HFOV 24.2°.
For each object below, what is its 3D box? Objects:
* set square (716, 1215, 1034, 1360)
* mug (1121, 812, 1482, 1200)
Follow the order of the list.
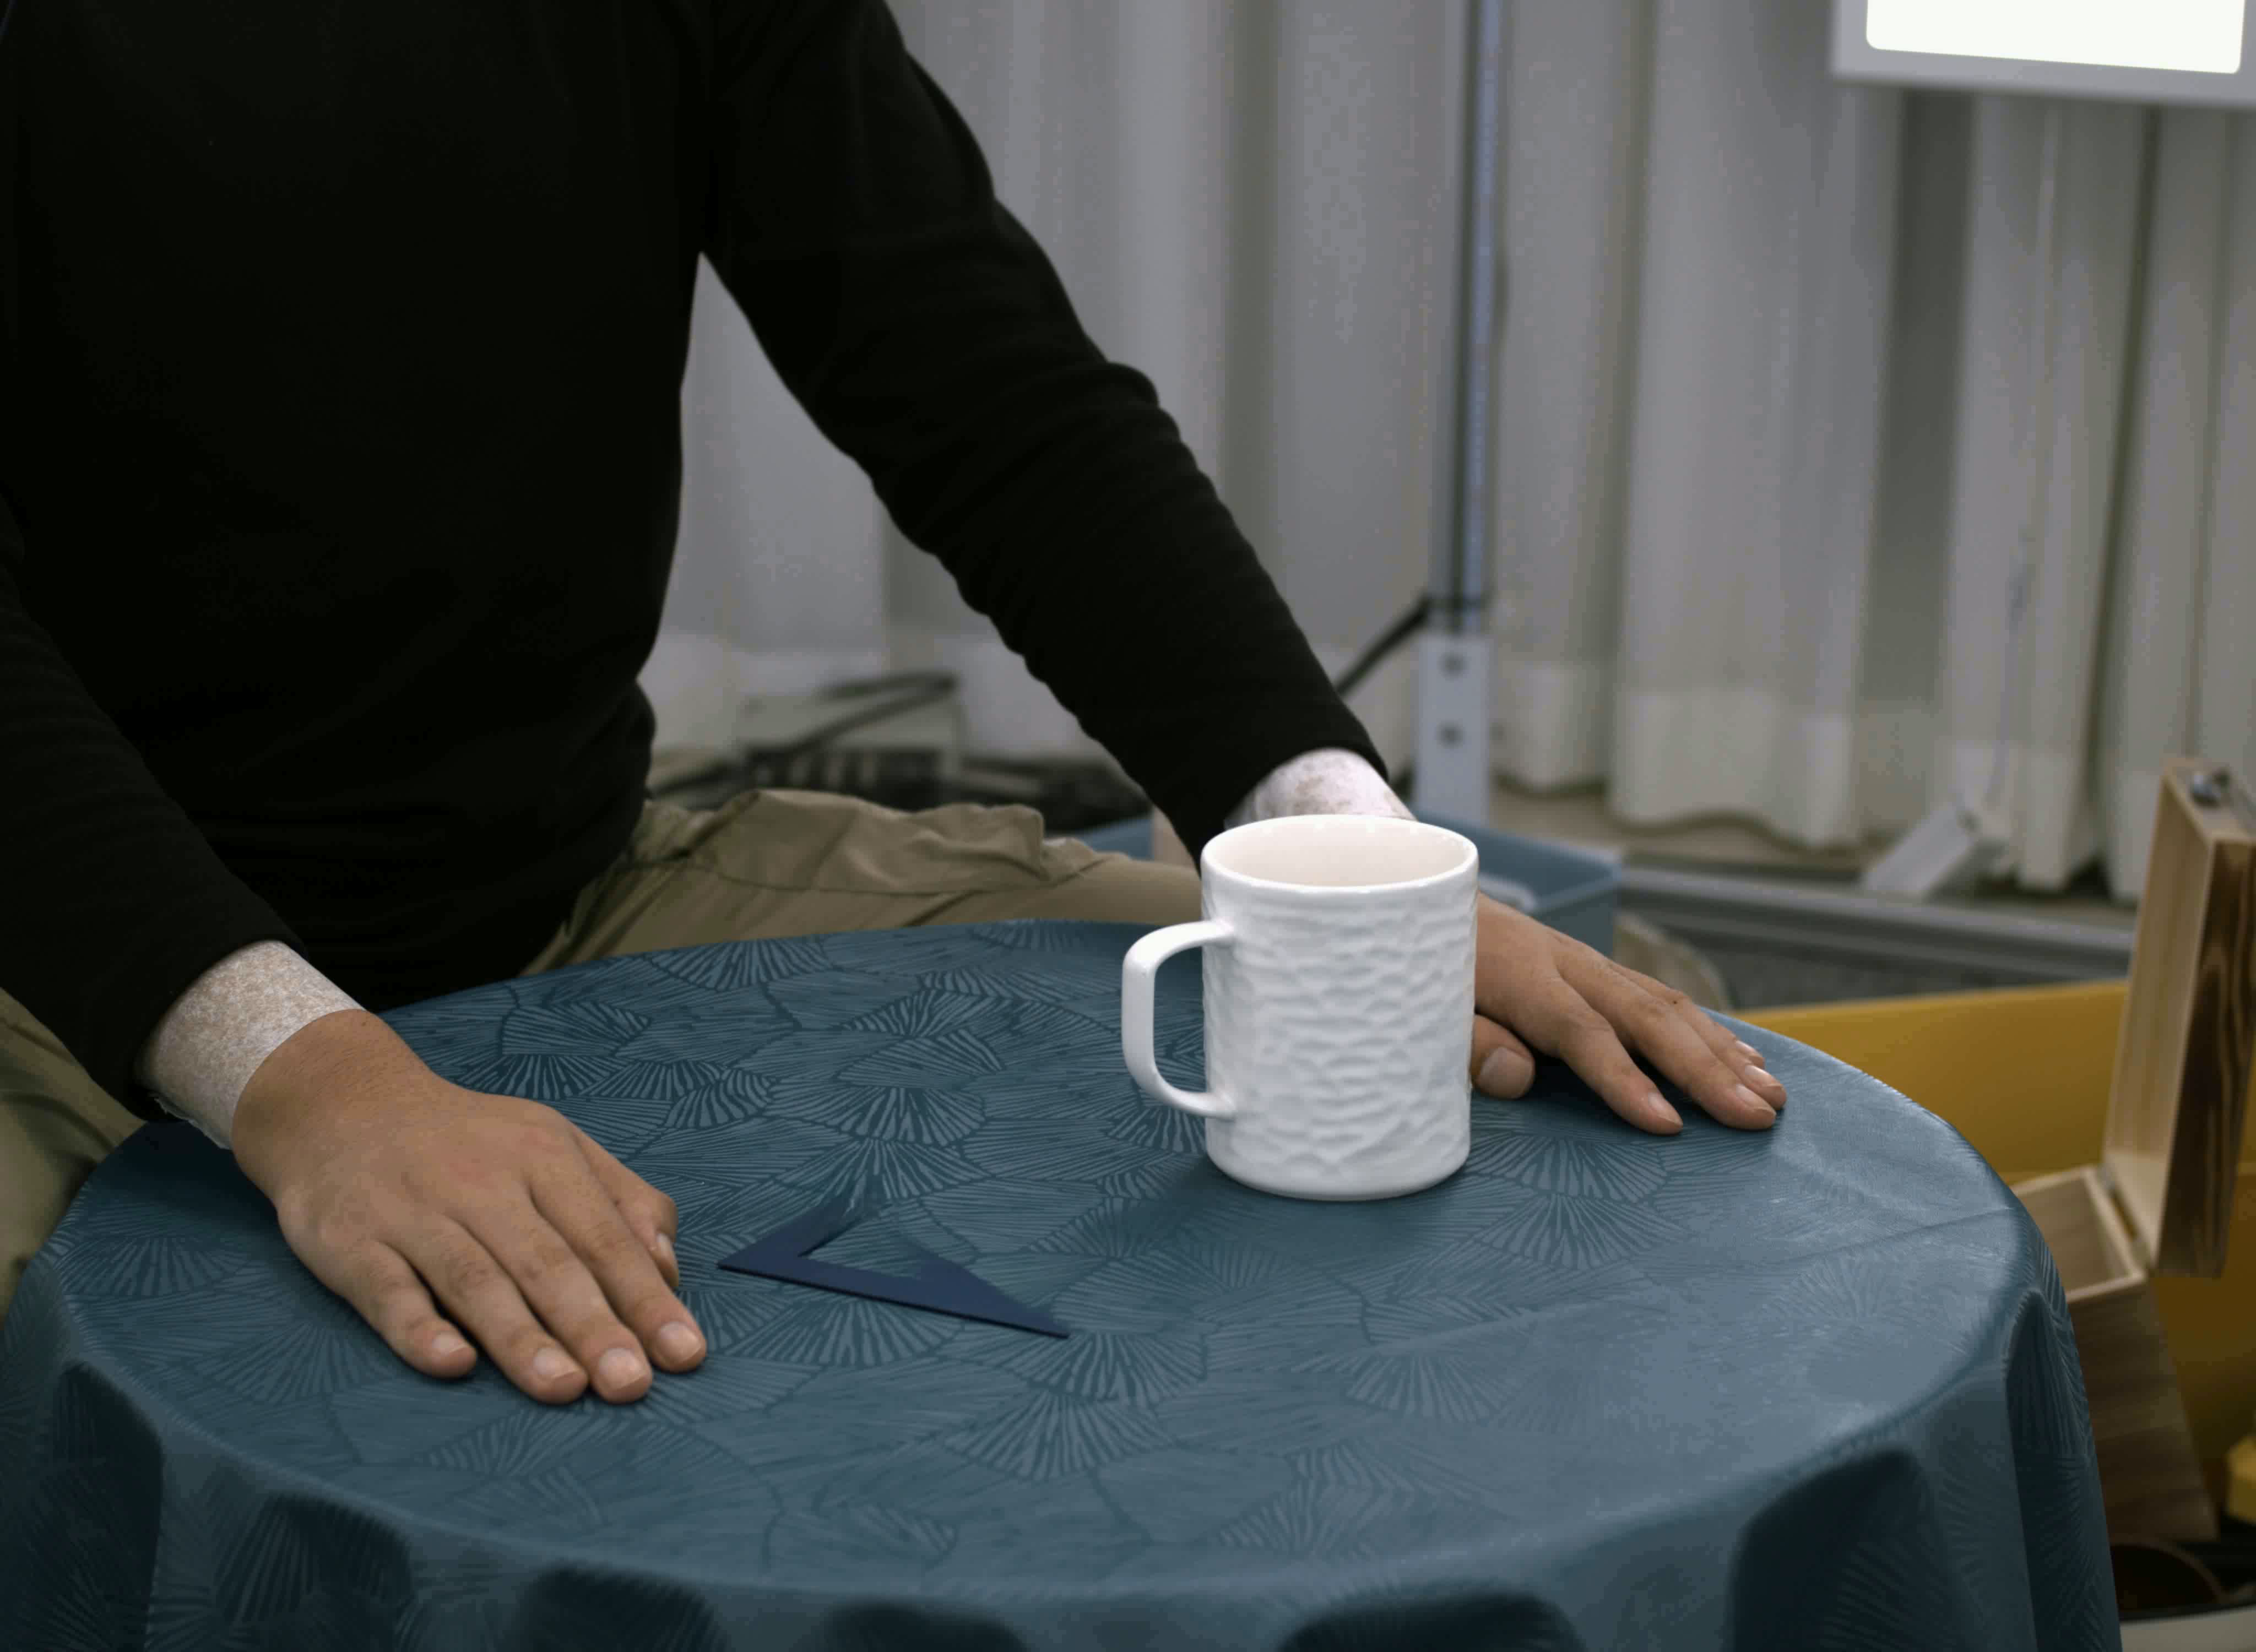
[{"bbox_3d":[-0.078,0.135,1.528,0.061,0.006,0.130,-6,17,-26],"label":"set square"},{"bbox_3d":[0.052,0.058,1.627,0.119,0.103,0.084,-8,18,-29],"label":"mug"}]
